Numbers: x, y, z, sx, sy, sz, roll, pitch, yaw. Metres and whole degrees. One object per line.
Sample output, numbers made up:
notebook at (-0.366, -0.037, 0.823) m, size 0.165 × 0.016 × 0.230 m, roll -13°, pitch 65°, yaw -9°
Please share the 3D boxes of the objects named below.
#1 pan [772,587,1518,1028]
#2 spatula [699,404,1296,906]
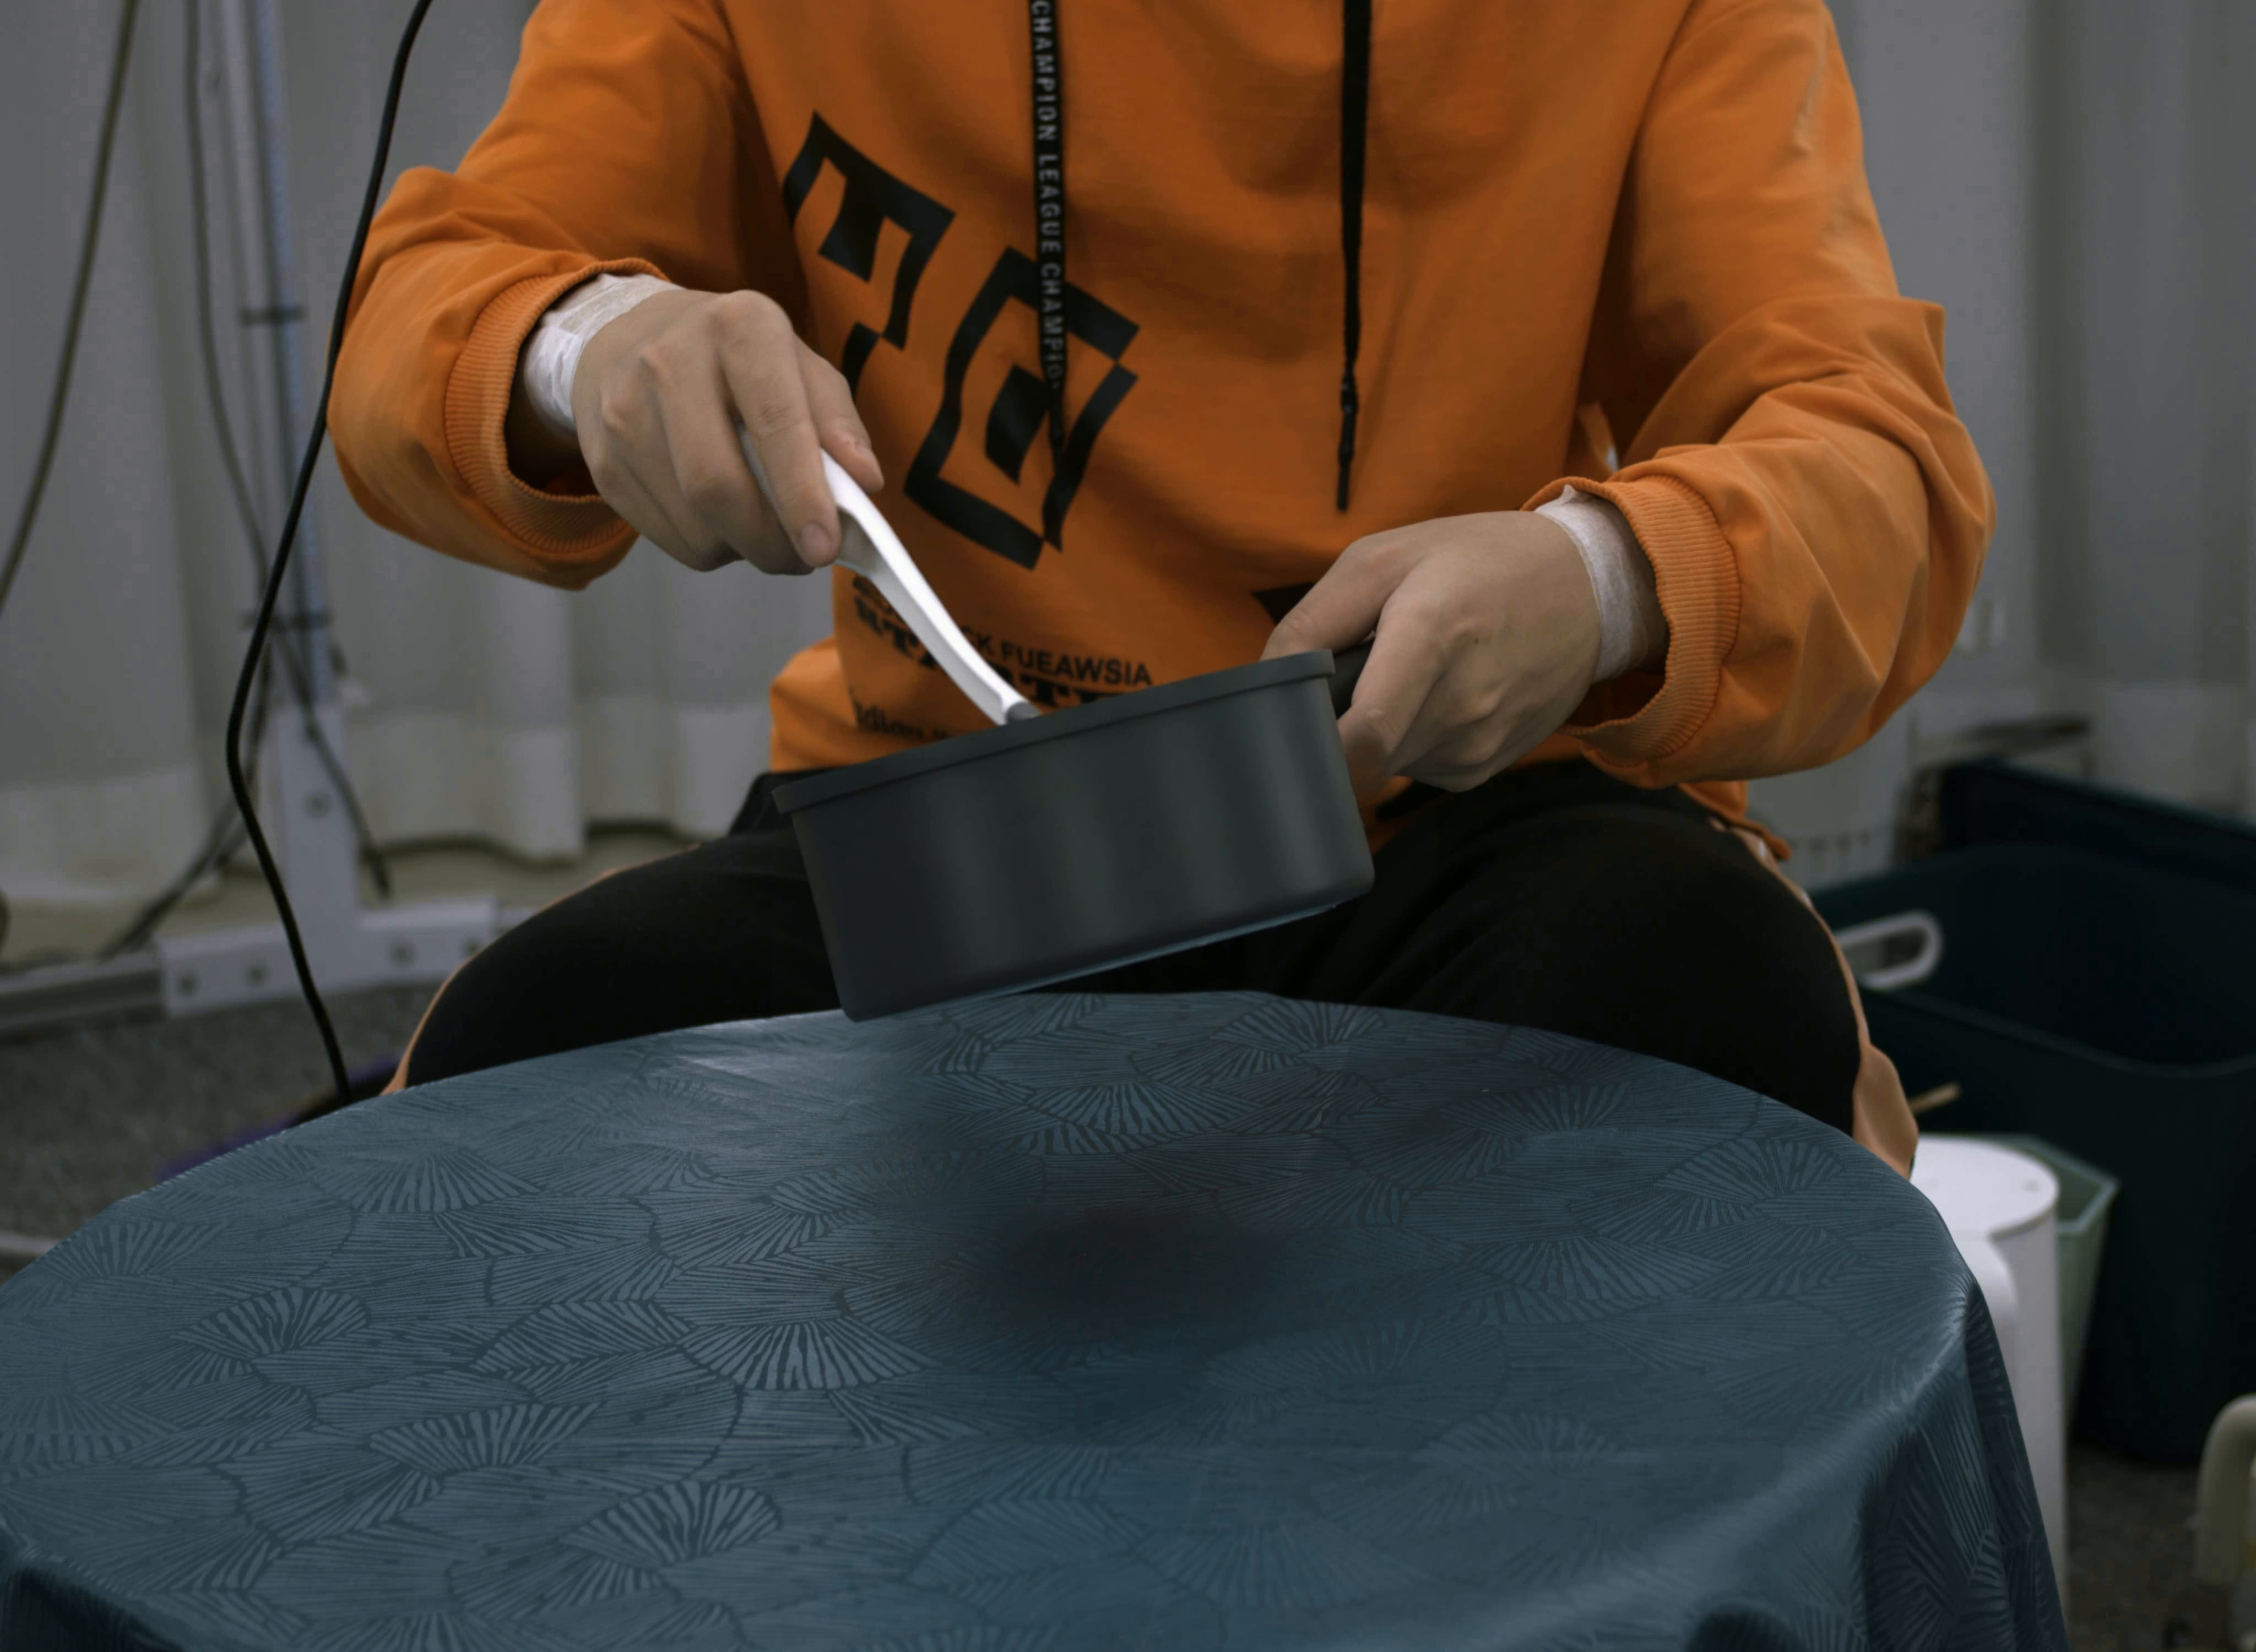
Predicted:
pan at (0.030, -0.010, 1.684) m, size 0.172 × 0.086 × 0.328 m, roll -14°, pitch 1°, yaw 36°
spatula at (-0.044, -0.054, 1.664) m, size 0.032 × 0.058 × 0.291 m, roll -32°, pitch 43°, yaw -19°
